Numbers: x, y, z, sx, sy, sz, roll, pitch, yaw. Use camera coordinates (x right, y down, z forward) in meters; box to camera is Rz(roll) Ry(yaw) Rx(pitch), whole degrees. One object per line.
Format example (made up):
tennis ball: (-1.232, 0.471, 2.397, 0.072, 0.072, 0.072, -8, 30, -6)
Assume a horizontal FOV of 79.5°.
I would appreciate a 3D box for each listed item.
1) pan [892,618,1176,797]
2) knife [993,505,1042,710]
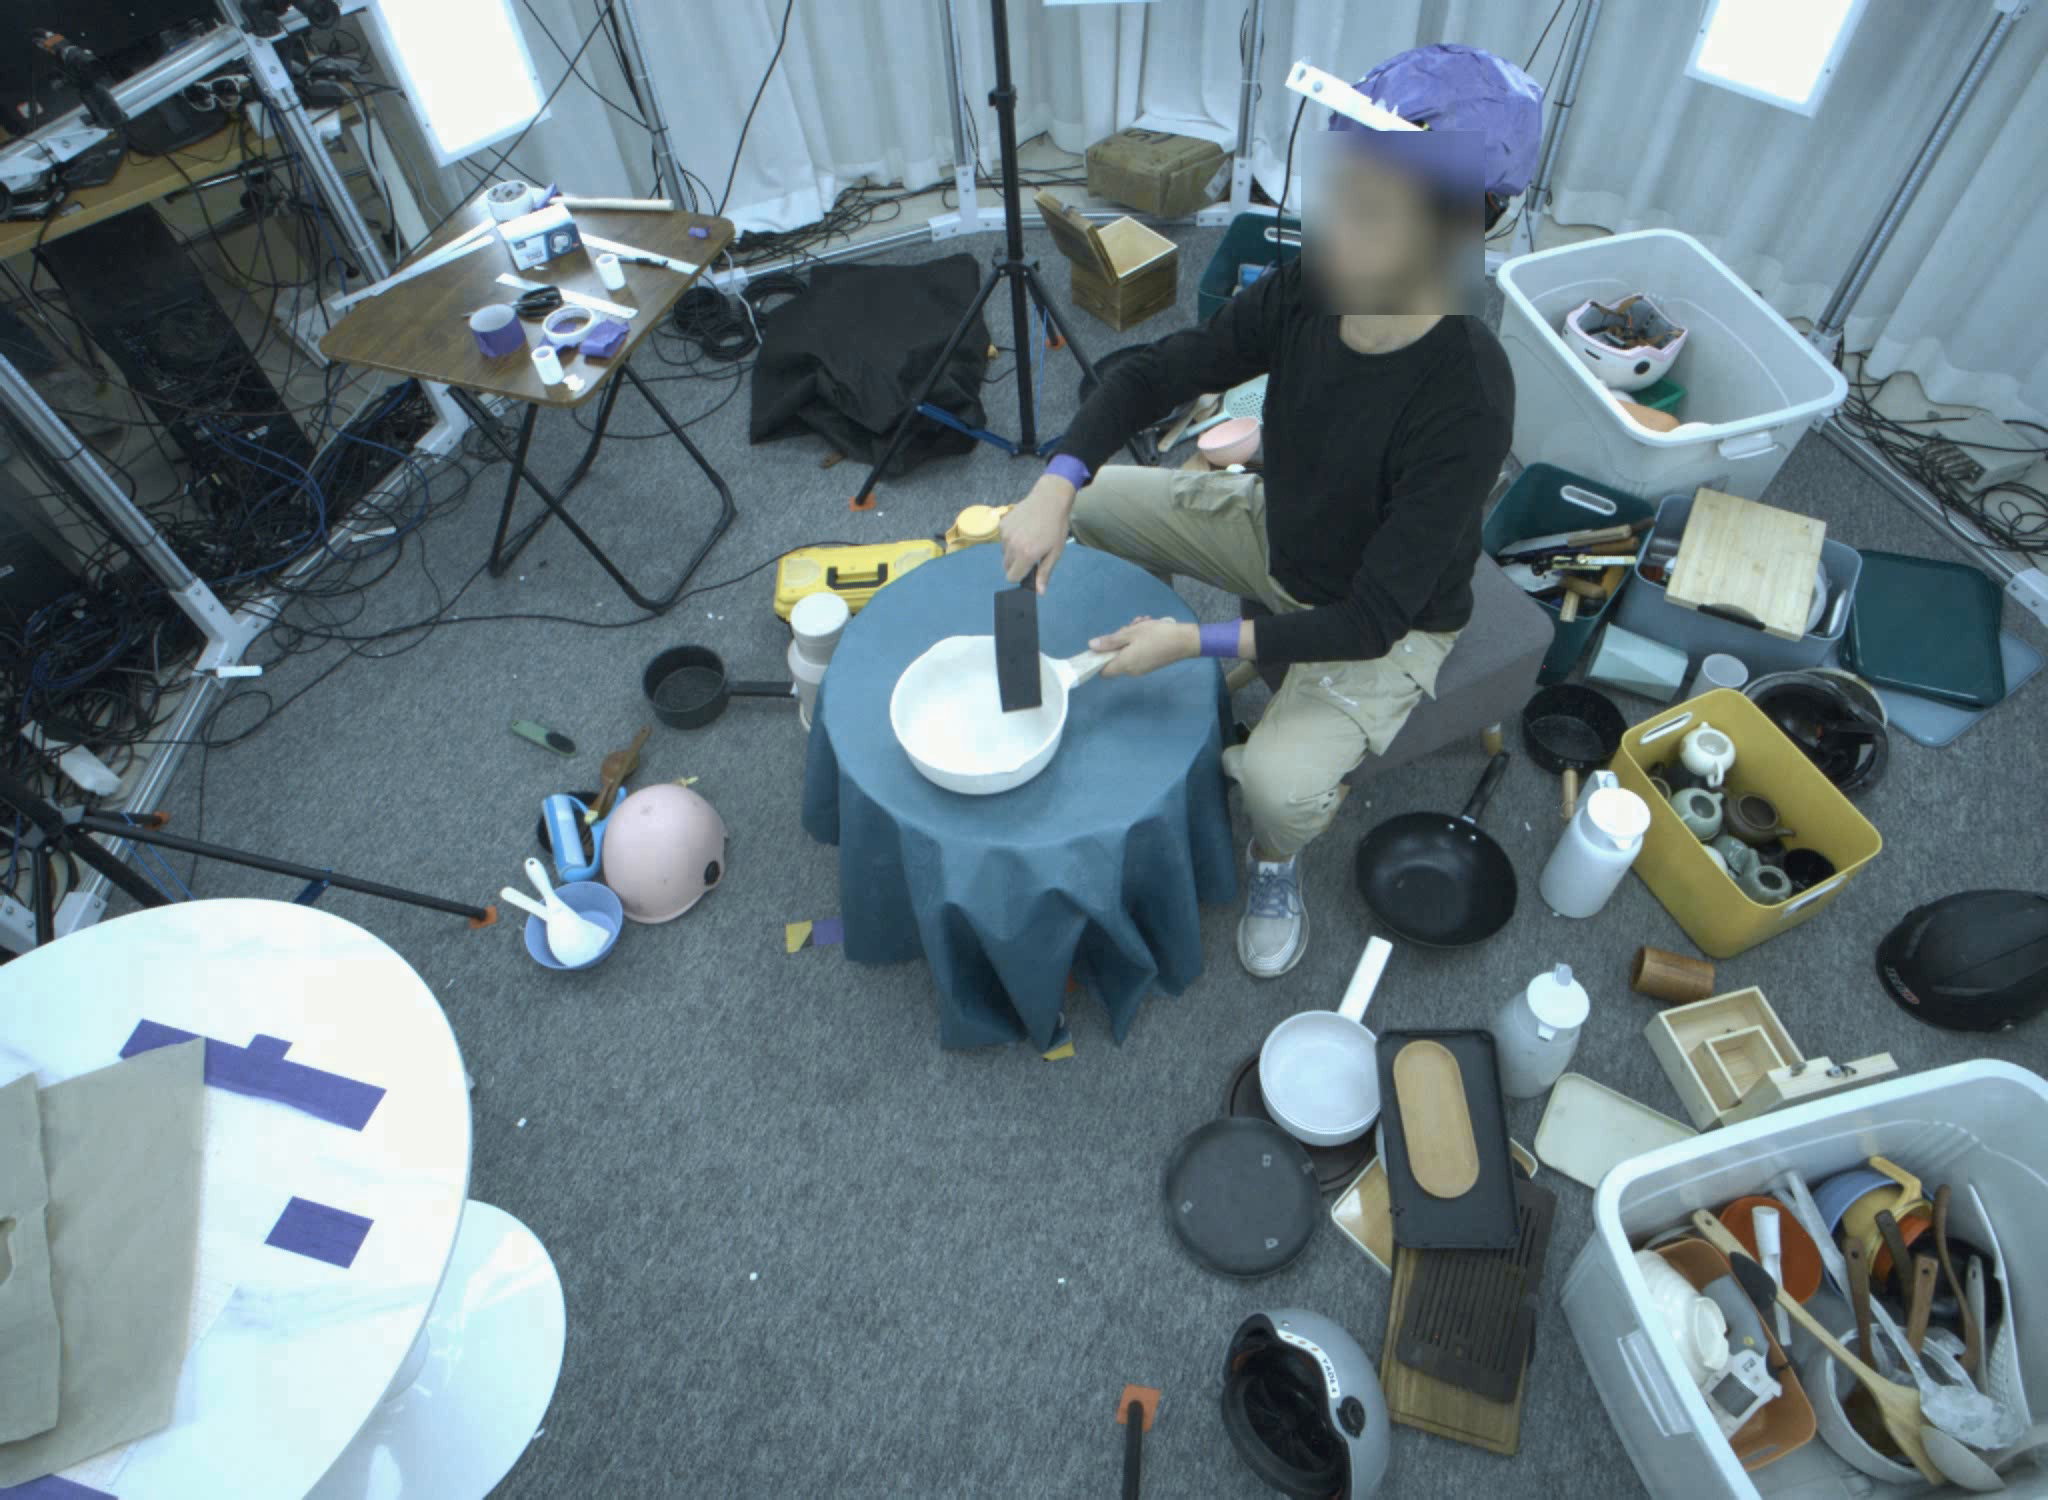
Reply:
pan: (0.025, -0.078, 1.777, 0.438, 0.103, 0.258, -21, 55, -13)
knife: (-0.008, -0.203, 1.719, 0.080, 0.021, 0.301, -3, 77, 21)
